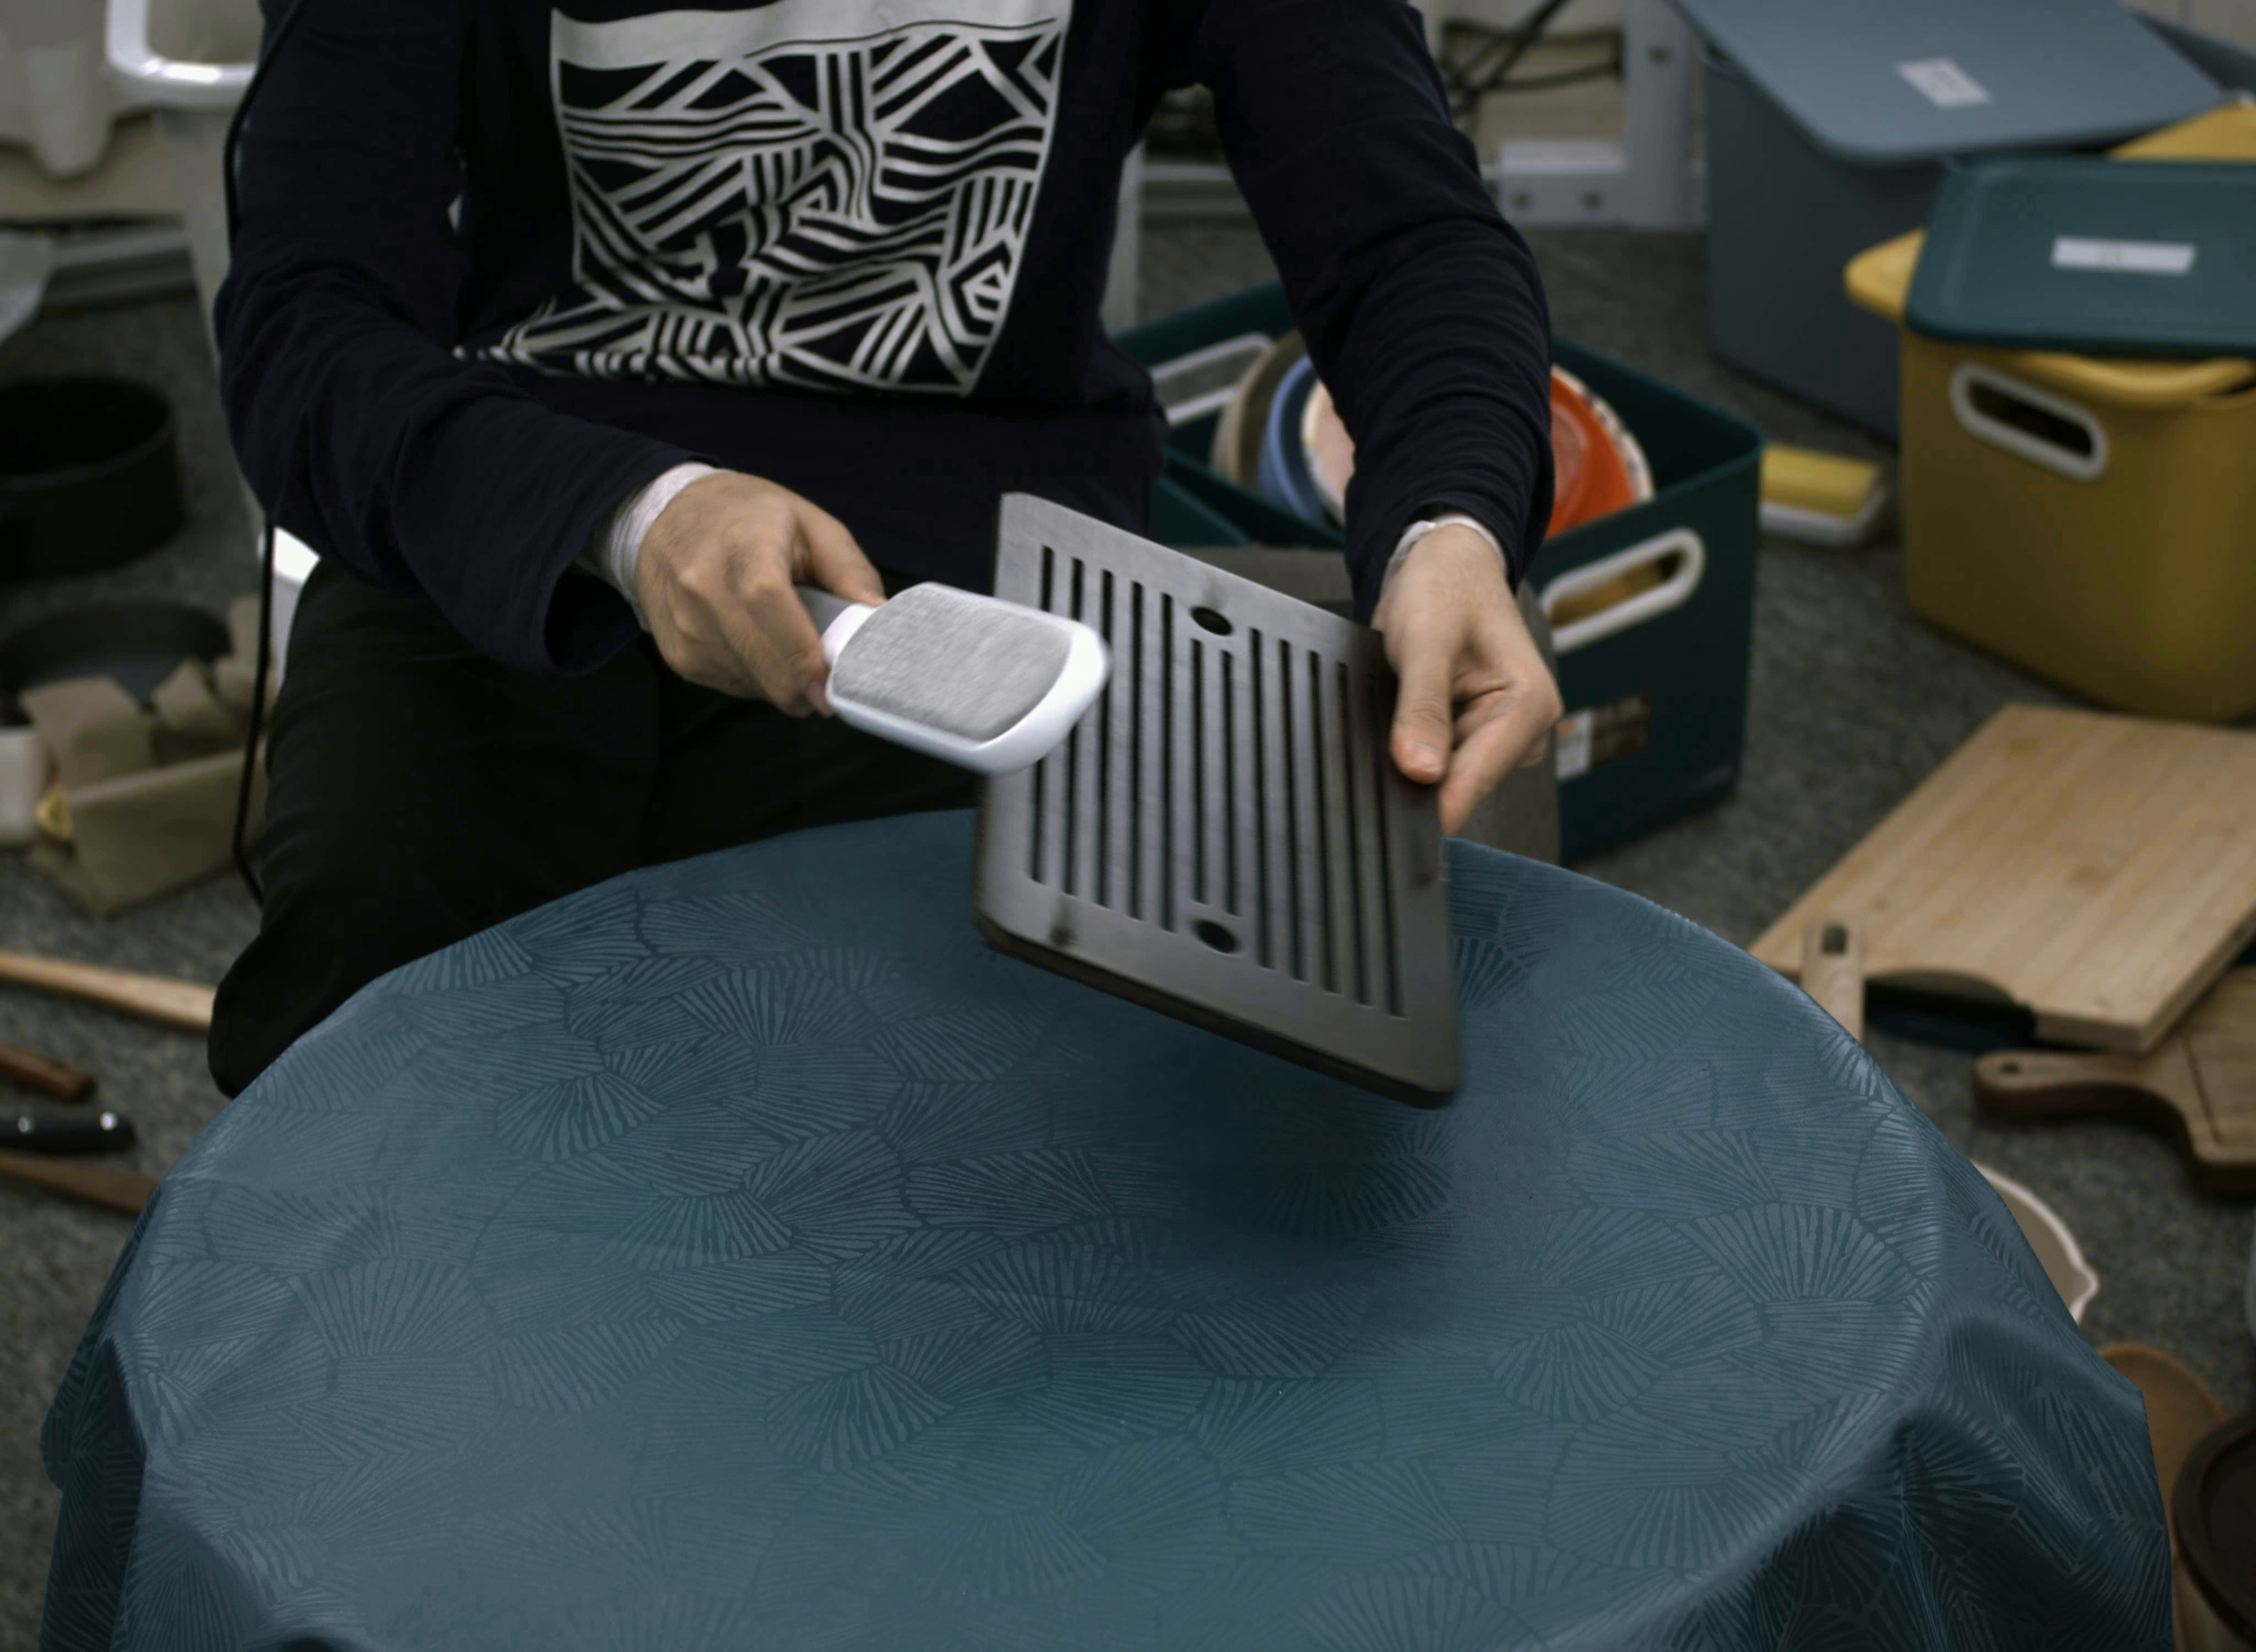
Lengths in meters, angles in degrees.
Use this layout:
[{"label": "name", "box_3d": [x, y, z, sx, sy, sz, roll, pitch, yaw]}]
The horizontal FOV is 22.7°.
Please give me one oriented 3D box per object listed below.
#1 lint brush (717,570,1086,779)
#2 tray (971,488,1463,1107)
[{"label": "lint brush", "box_3d": [-0.084, -0.060, 1.933, 0.060, 0.021, 0.308, -54, 23, -7]}, {"label": "tray", "box_3d": [0.028, -0.012, 1.907, 0.169, 0.018, 0.311, 21, 28, -11]}]
